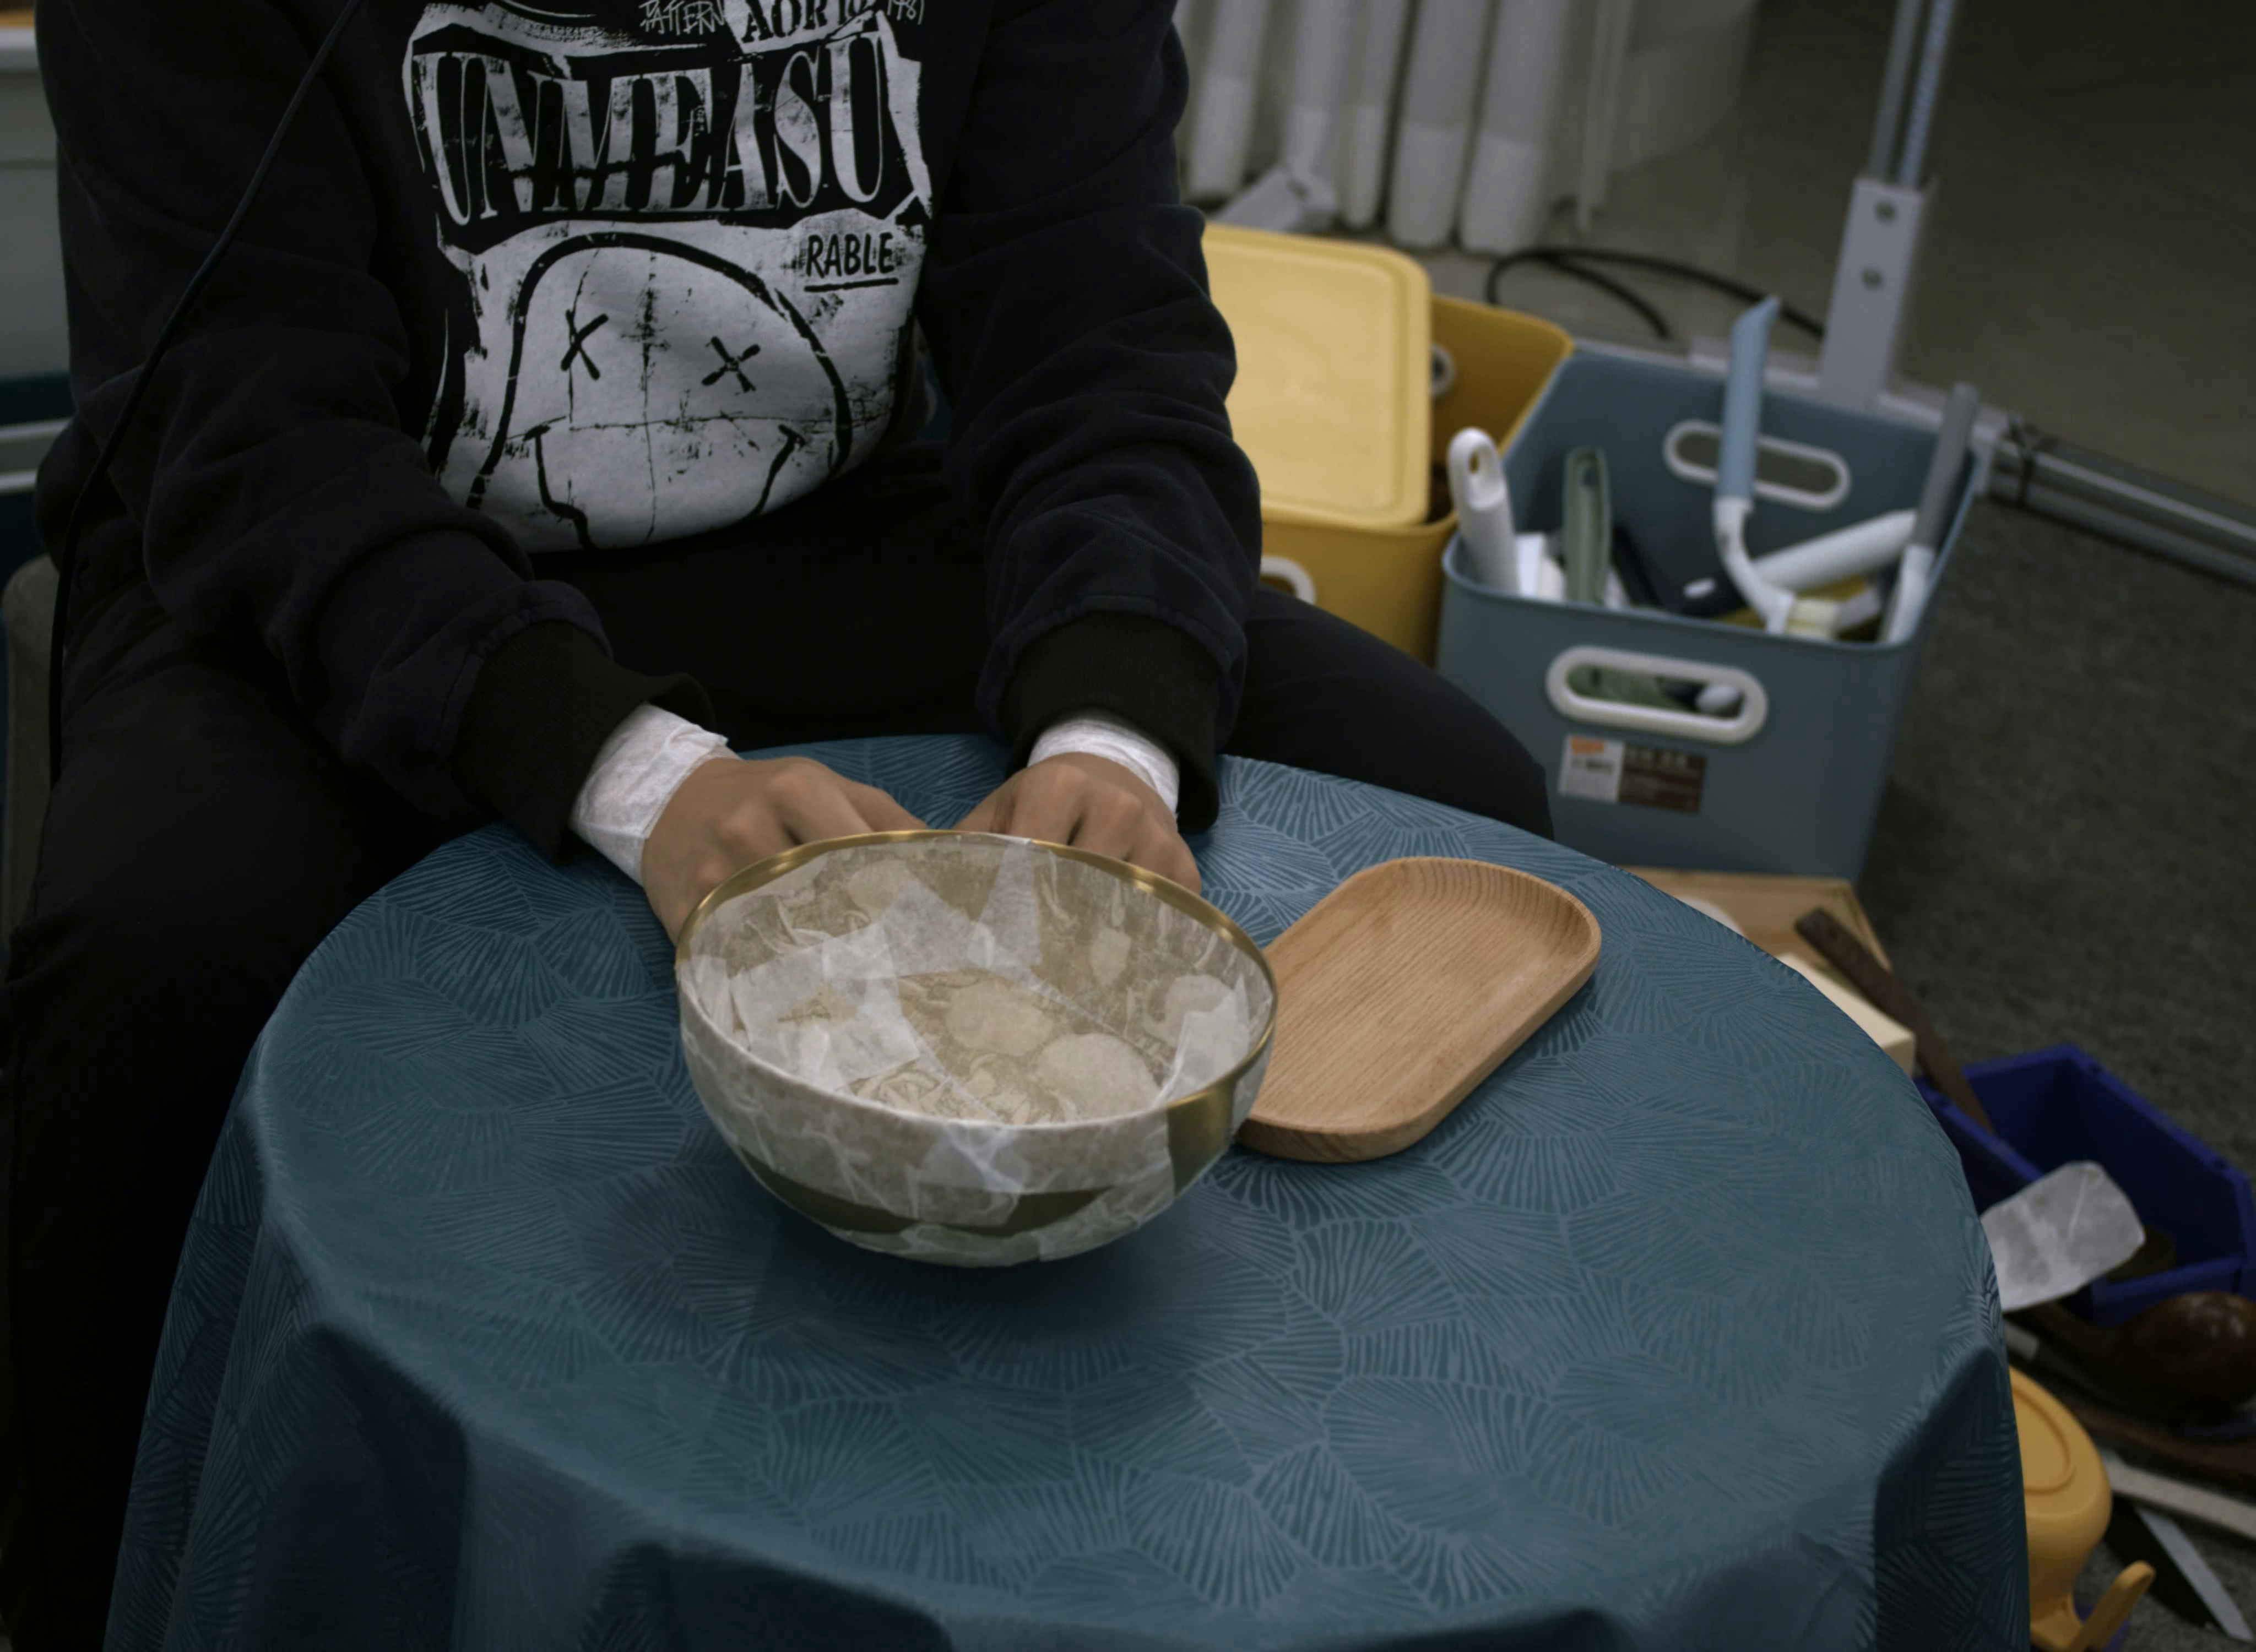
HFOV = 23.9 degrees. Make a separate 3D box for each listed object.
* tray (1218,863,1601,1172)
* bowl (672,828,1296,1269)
[{"bbox_3d":[0.094,0.067,1.917,0.102,0.020,0.231,16,30,23],"label":"tray"},{"bbox_3d":[-0.050,0.085,1.763,0.214,0.094,0.216,4,26,-2],"label":"bowl"}]
